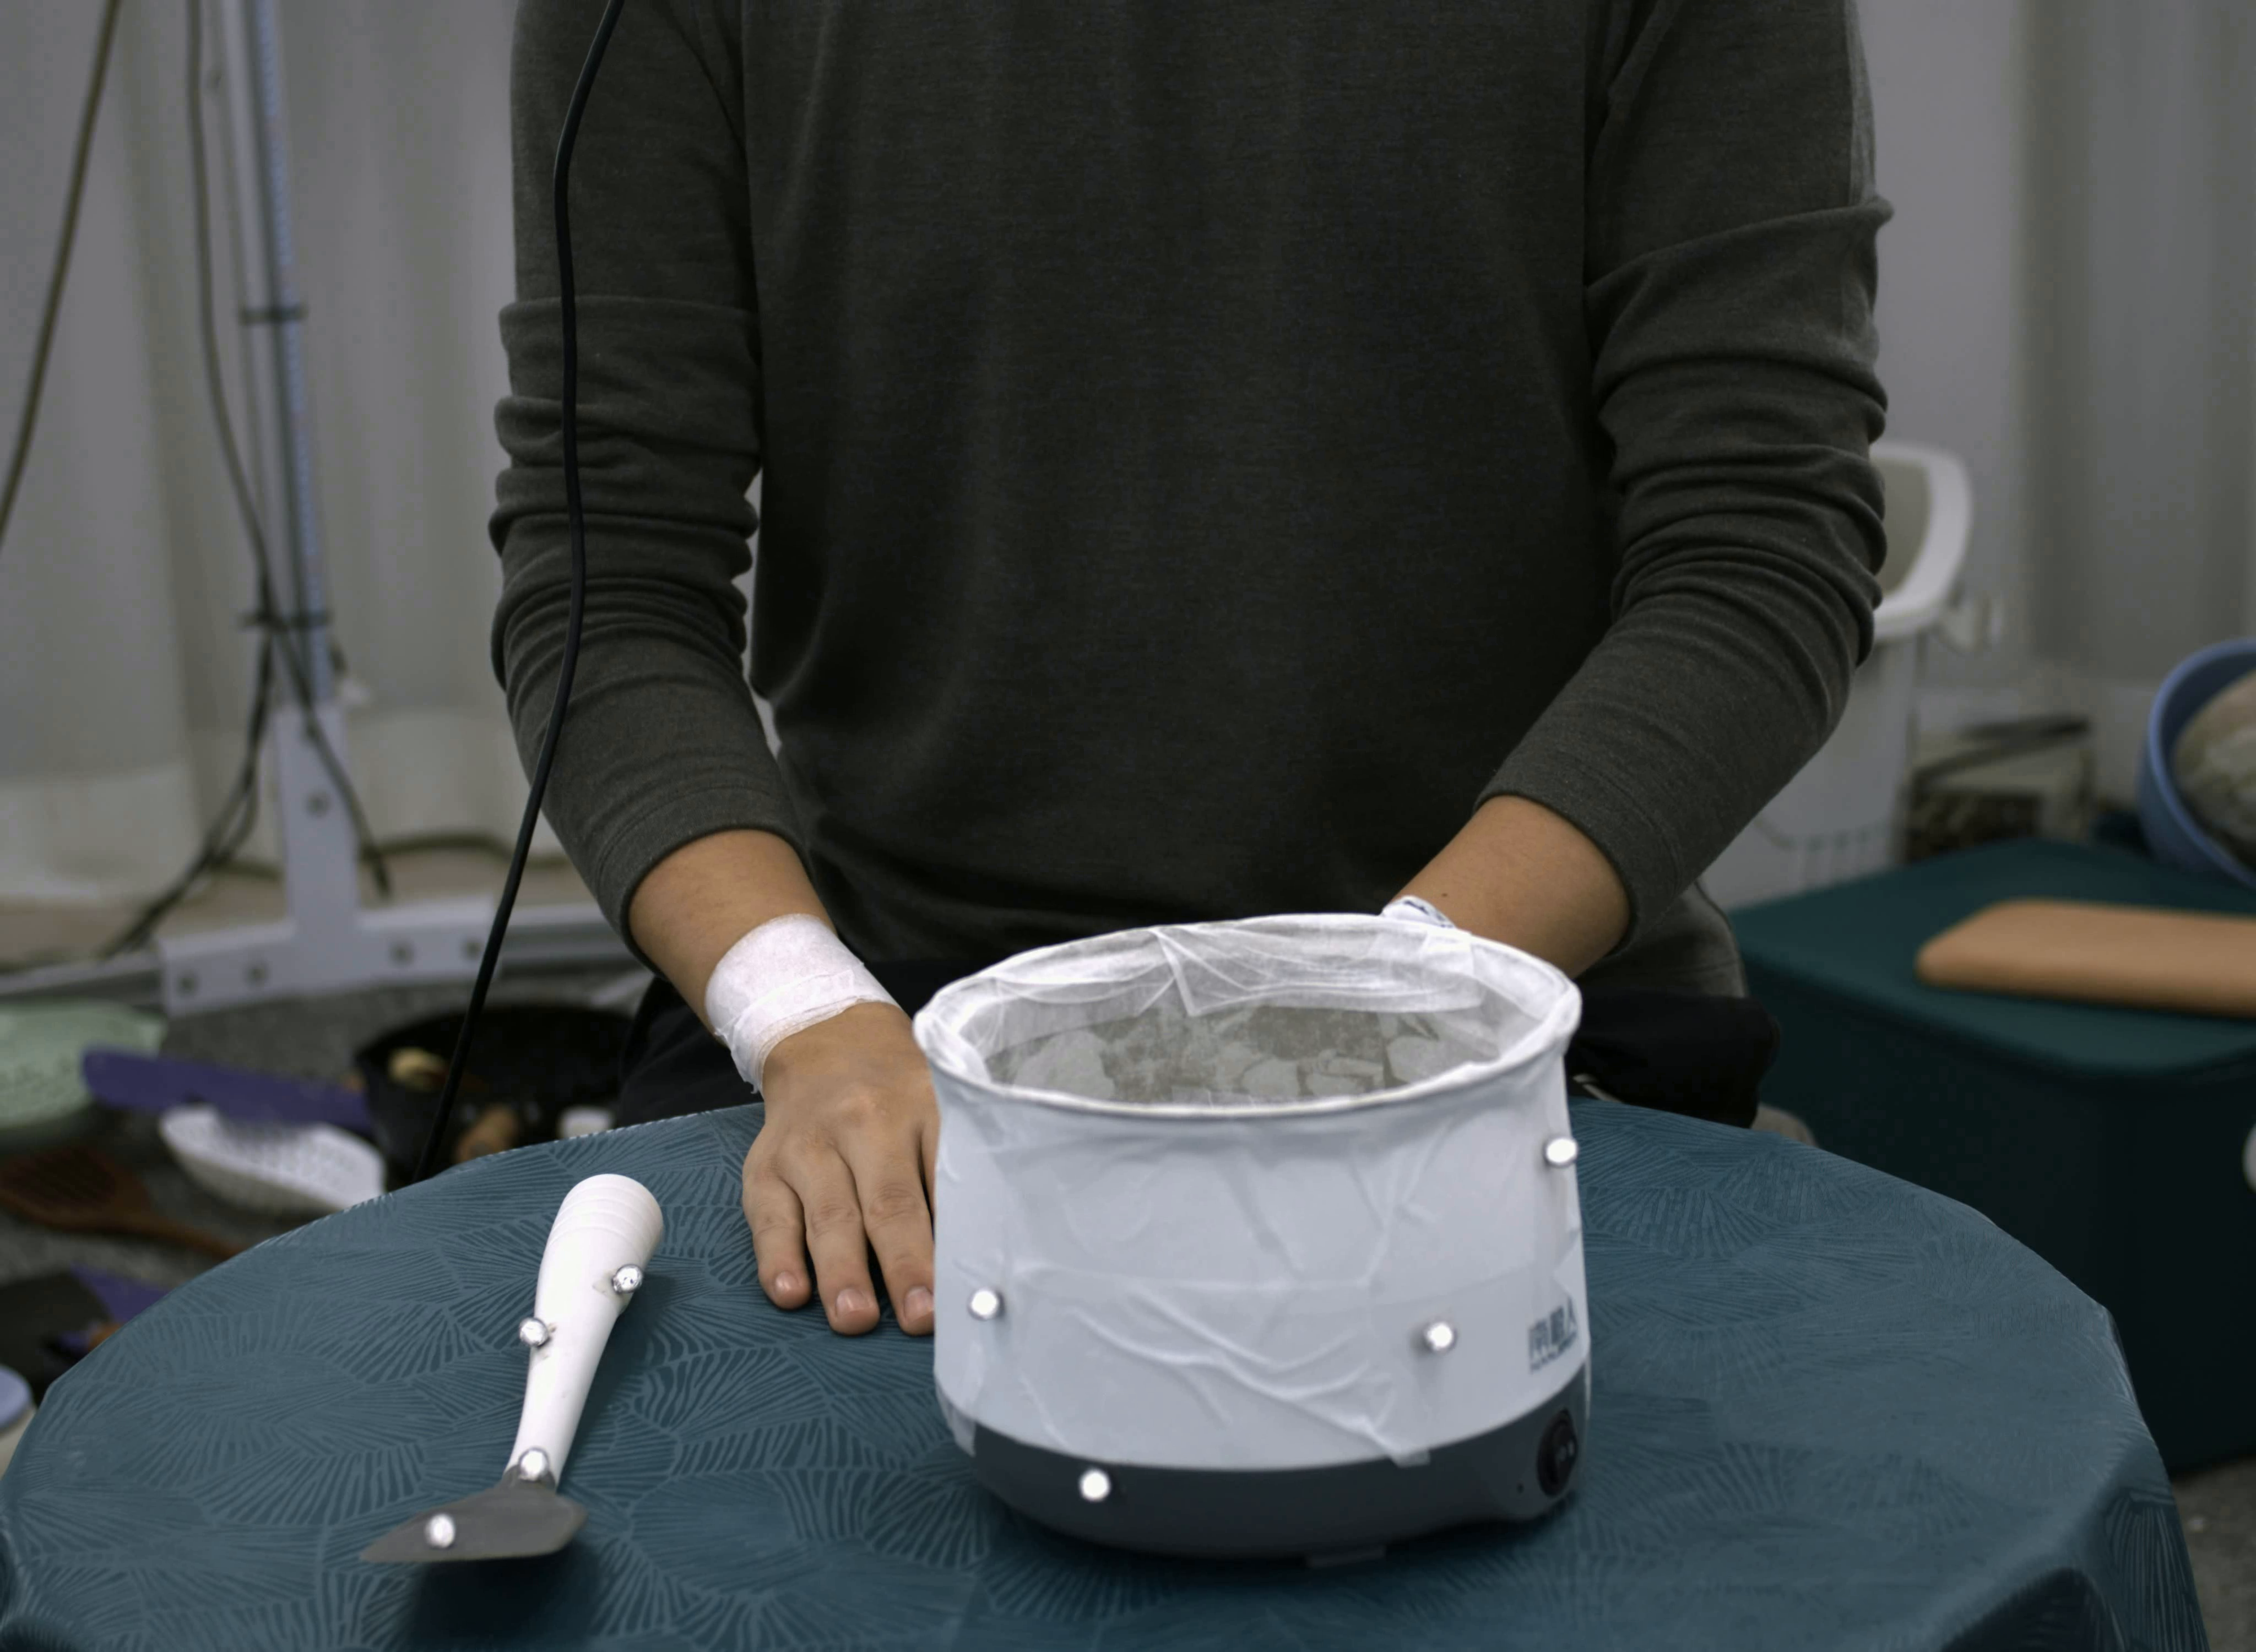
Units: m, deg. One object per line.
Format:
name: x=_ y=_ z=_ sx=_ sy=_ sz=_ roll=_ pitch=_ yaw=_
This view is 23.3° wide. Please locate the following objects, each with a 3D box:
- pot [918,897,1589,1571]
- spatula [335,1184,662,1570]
pot: x=0.047 y=0.103 z=1.487 sx=0.179 sy=0.136 sz=0.234 roll=5 pitch=16 yaw=28
spatula: x=-0.165 y=0.159 z=1.519 sx=0.058 sy=0.032 sz=0.289 roll=1 pitch=14 yaw=3
